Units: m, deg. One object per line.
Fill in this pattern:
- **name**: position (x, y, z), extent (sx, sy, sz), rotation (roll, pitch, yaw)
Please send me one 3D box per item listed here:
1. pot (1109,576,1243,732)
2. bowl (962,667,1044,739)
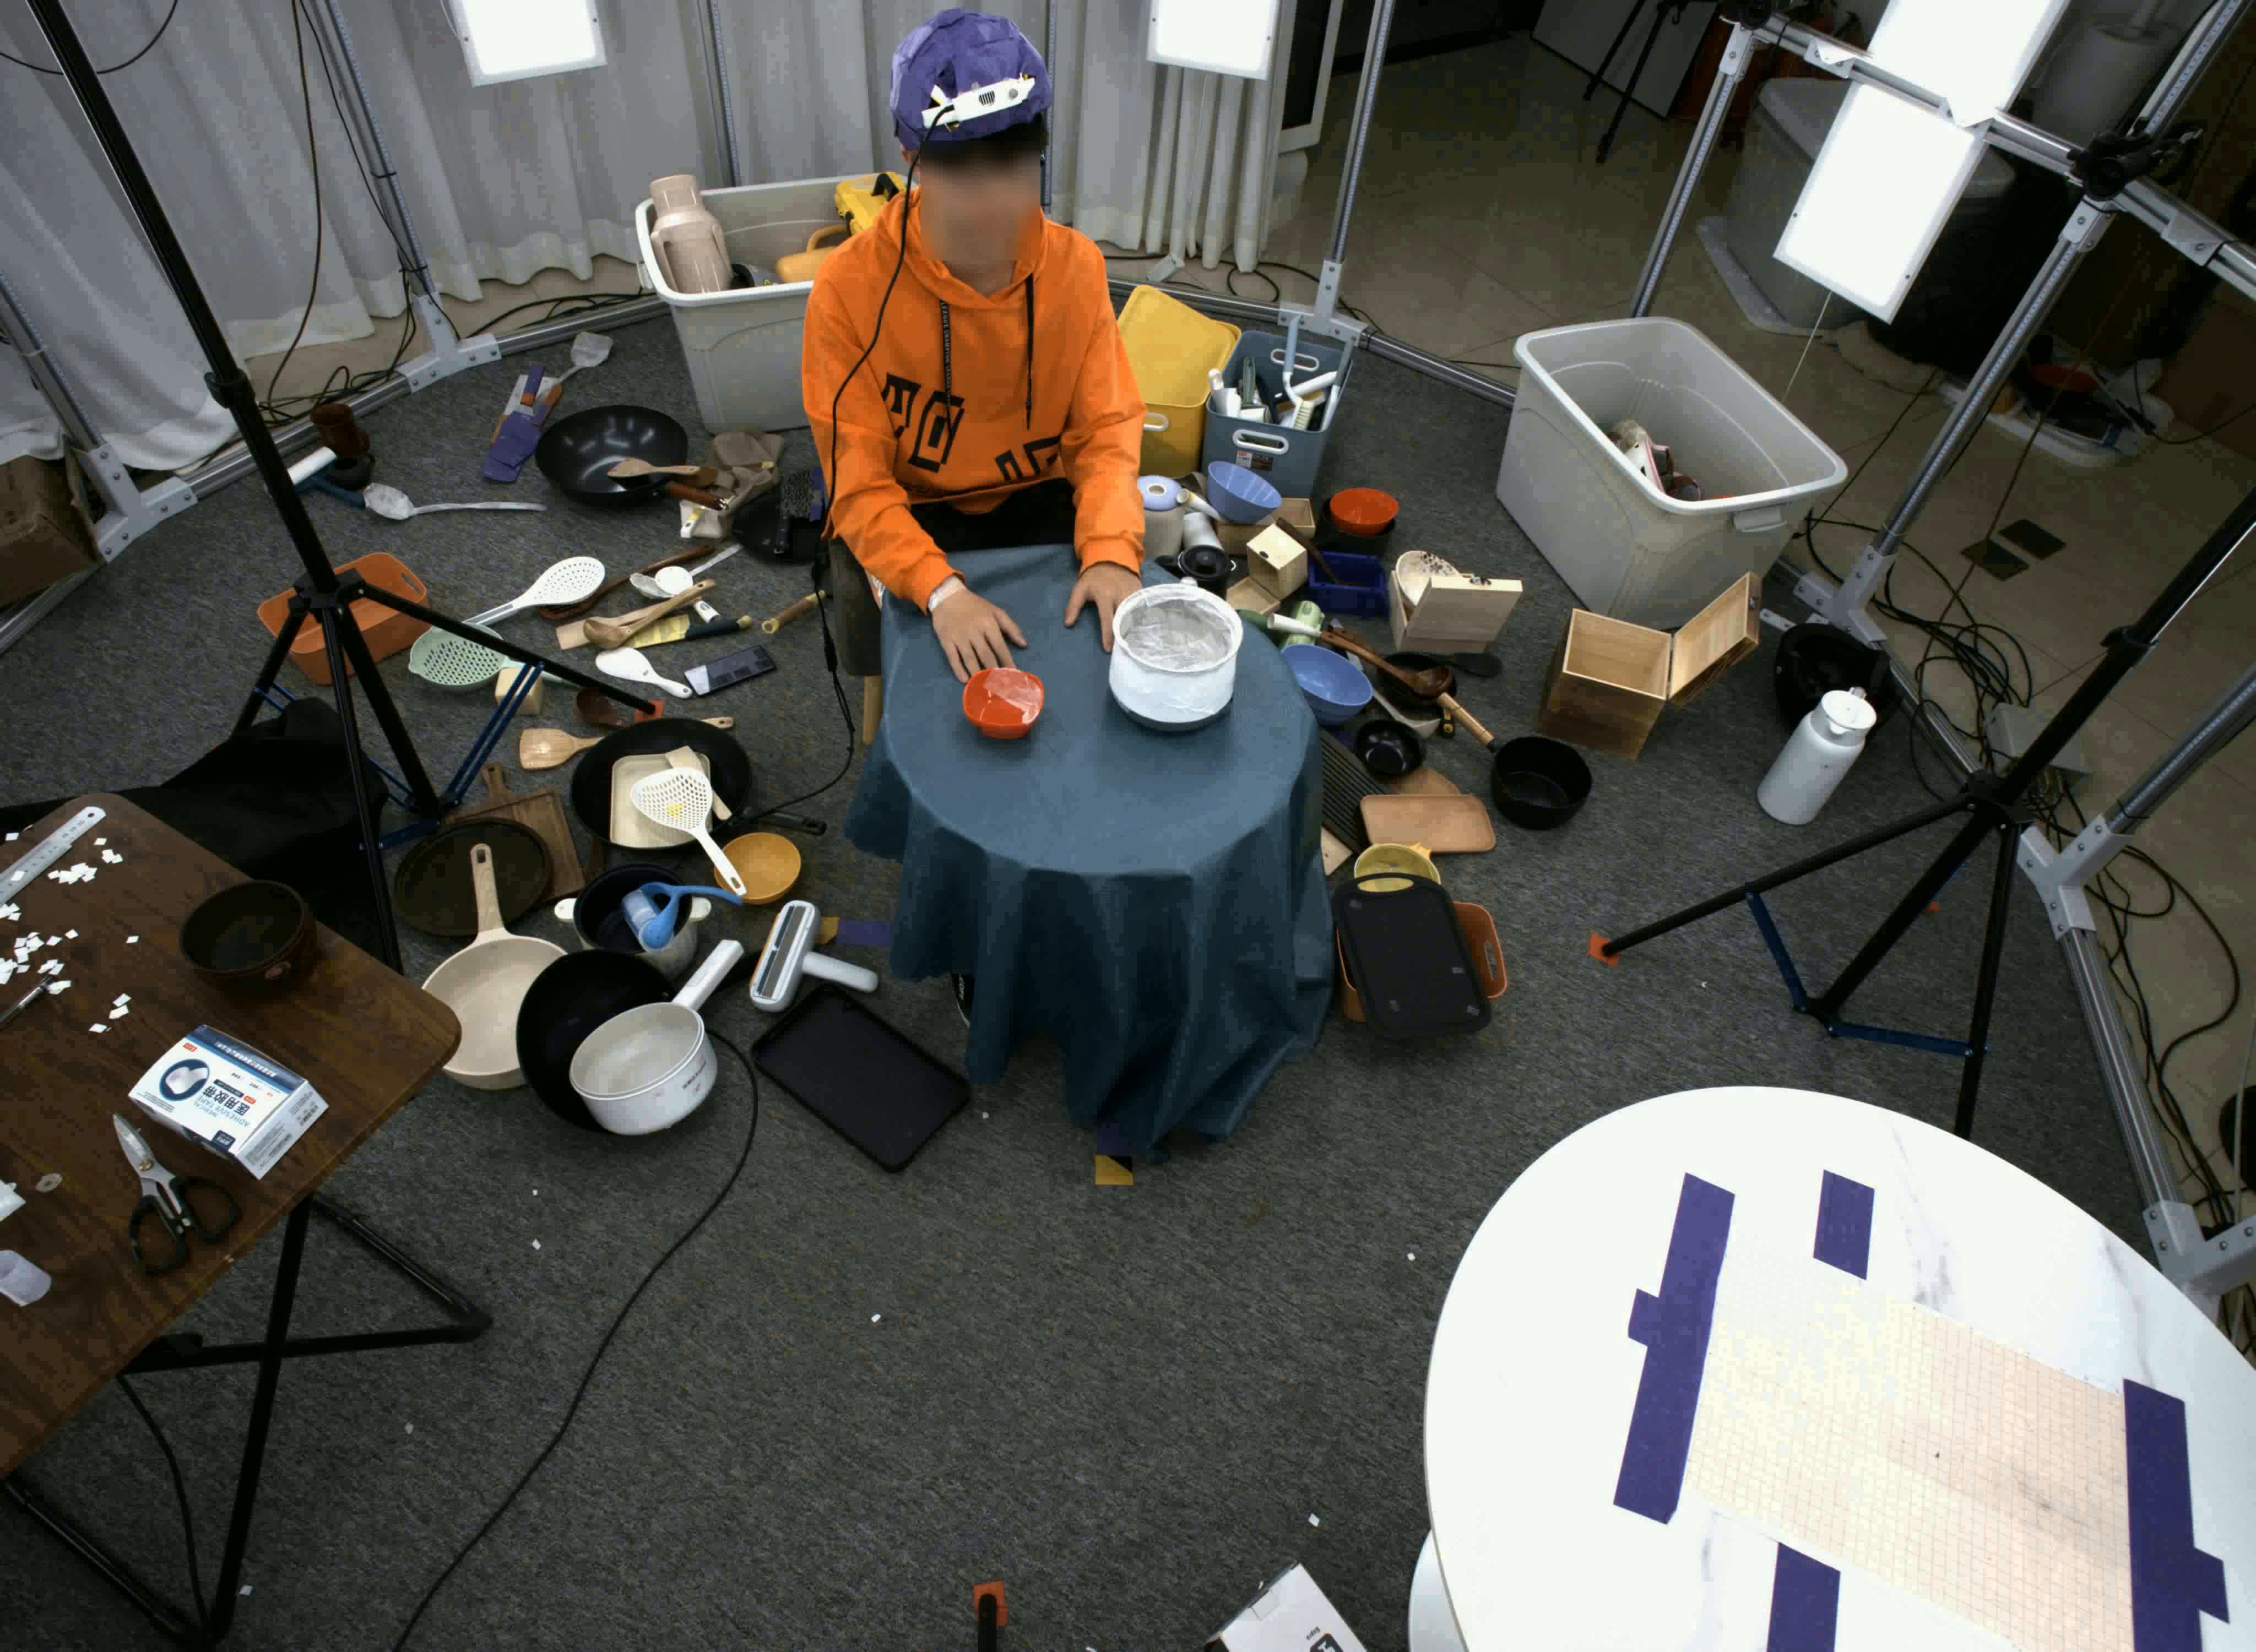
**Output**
- **pot**: position (0.067, -0.251, 1.803), extent (0.179, 0.133, 0.239), rotation (9, 49, 3)
- **bowl**: position (-0.171, -0.162, 1.765), extent (0.119, 0.050, 0.122), rotation (1, 50, -2)
